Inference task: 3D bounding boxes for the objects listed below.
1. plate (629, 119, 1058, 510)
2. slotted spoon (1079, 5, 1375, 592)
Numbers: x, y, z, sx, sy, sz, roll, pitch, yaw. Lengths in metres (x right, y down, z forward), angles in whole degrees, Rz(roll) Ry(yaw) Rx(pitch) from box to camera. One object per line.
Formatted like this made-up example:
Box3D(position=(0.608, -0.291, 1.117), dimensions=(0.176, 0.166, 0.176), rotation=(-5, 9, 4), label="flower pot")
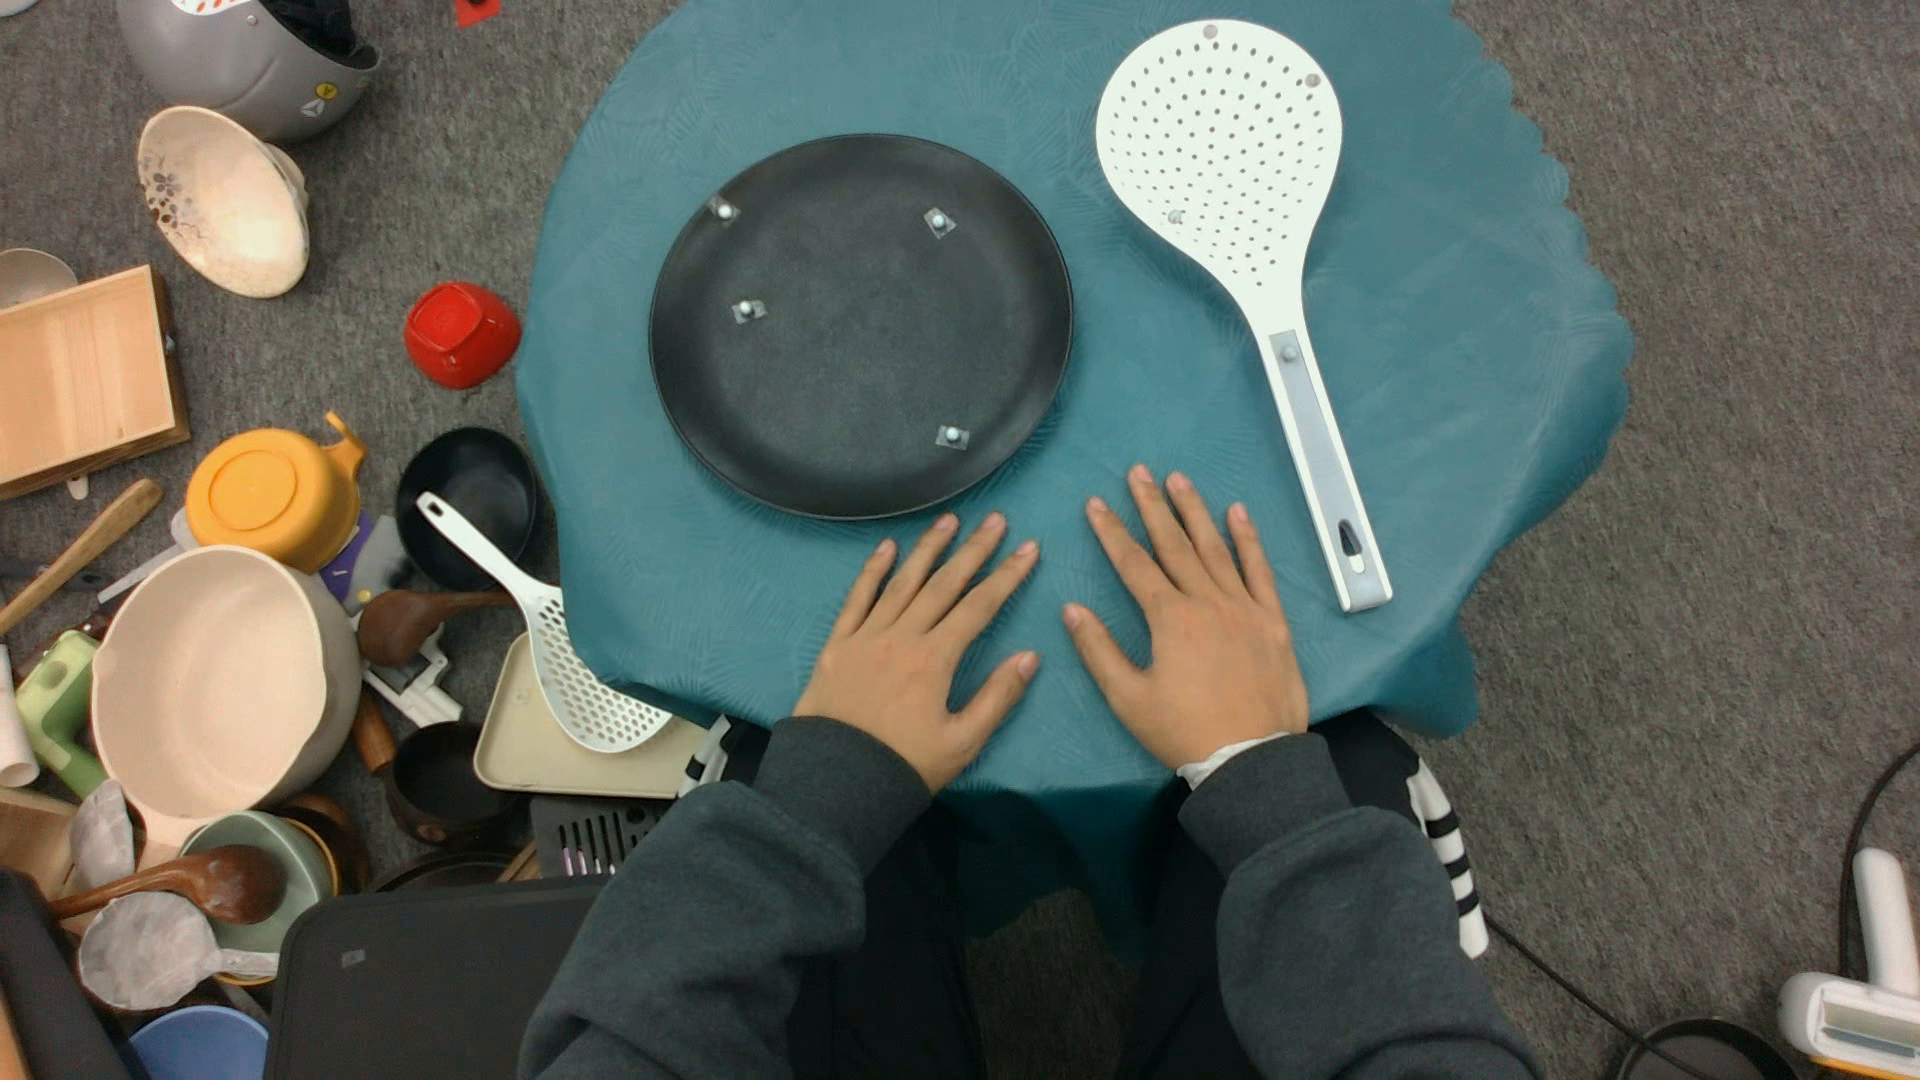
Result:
Box3D(position=(-0.066, -0.131, 0.786), dimensions=(0.244, 0.023, 0.245), rotation=(-1, 72, 3), label="plate")
Box3D(position=(0.164, -0.140, 0.766), dimensions=(0.136, 0.045, 0.350), rotation=(-15, 73, 0), label="slotted spoon")
